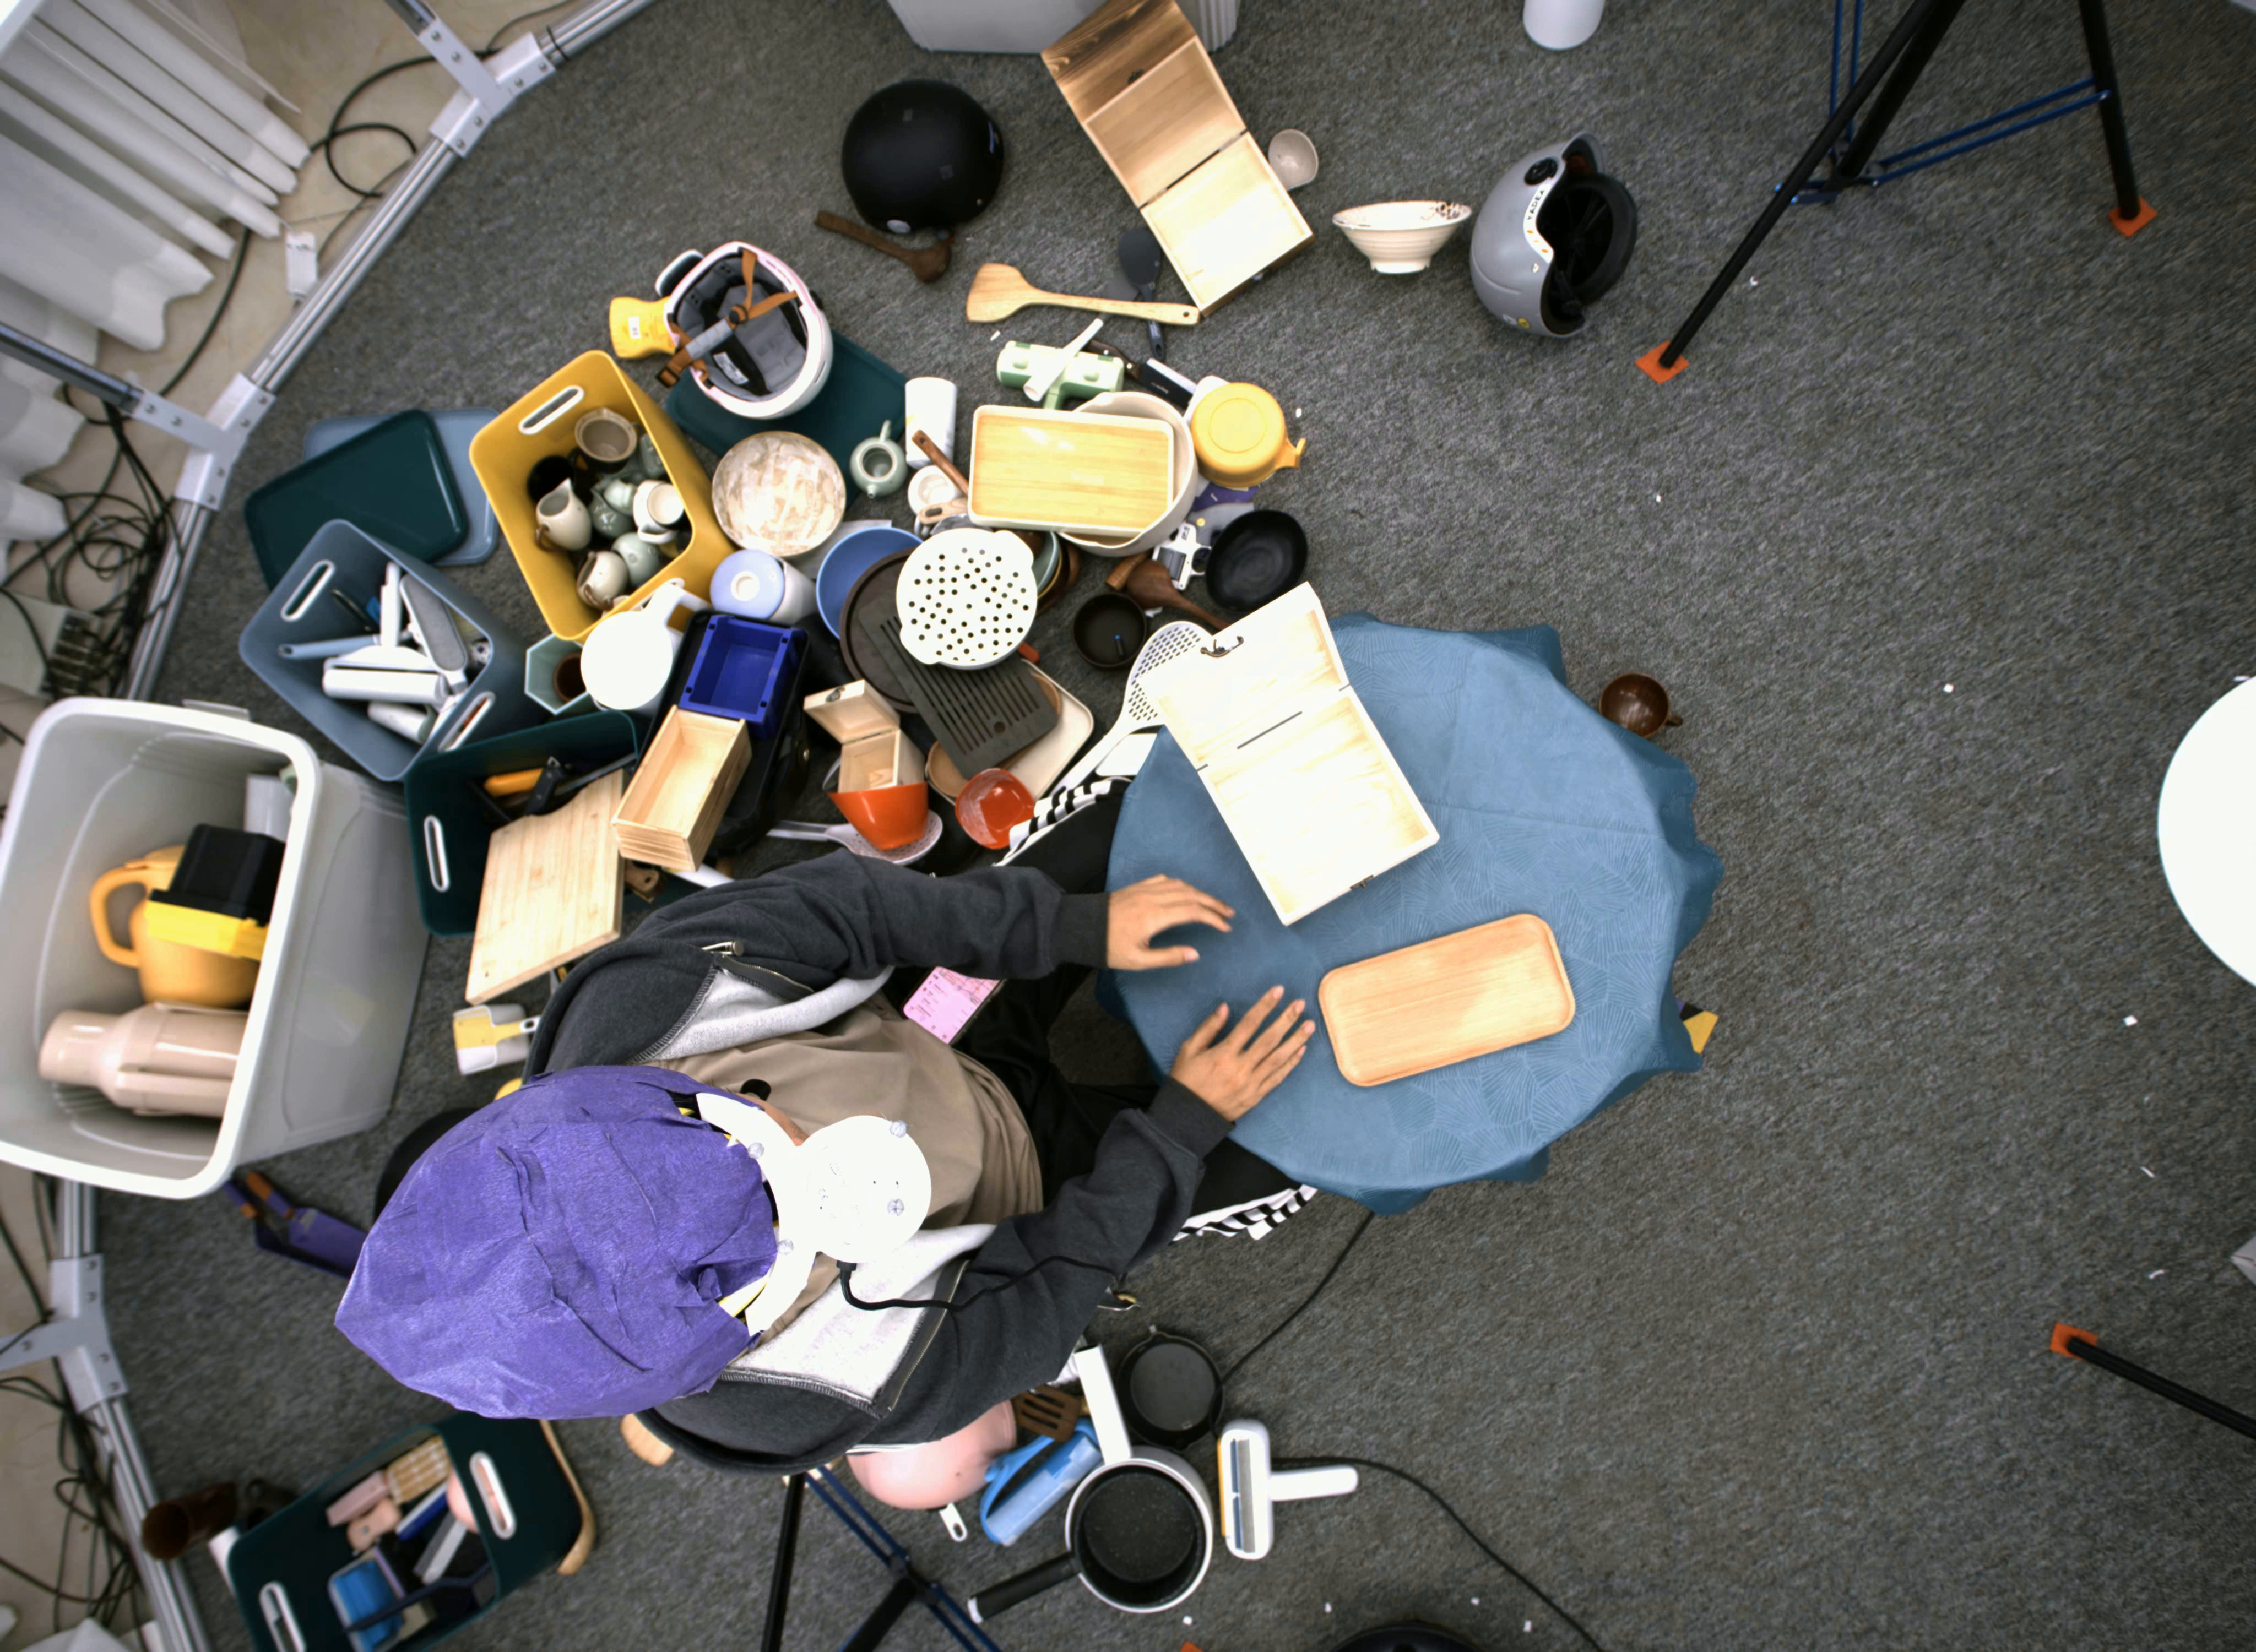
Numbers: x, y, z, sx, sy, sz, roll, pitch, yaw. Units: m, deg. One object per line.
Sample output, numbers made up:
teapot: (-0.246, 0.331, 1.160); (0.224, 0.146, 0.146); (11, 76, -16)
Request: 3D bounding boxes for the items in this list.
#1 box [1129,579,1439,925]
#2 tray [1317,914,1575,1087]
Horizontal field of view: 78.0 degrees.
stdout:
box: (0.165, -0.058, 1.362); (0.183, 0.253, 0.263); (-31, 80, 9)
tray: (0.328, 0.180, 1.433); (0.252, 0.023, 0.129); (-17, 81, 9)
